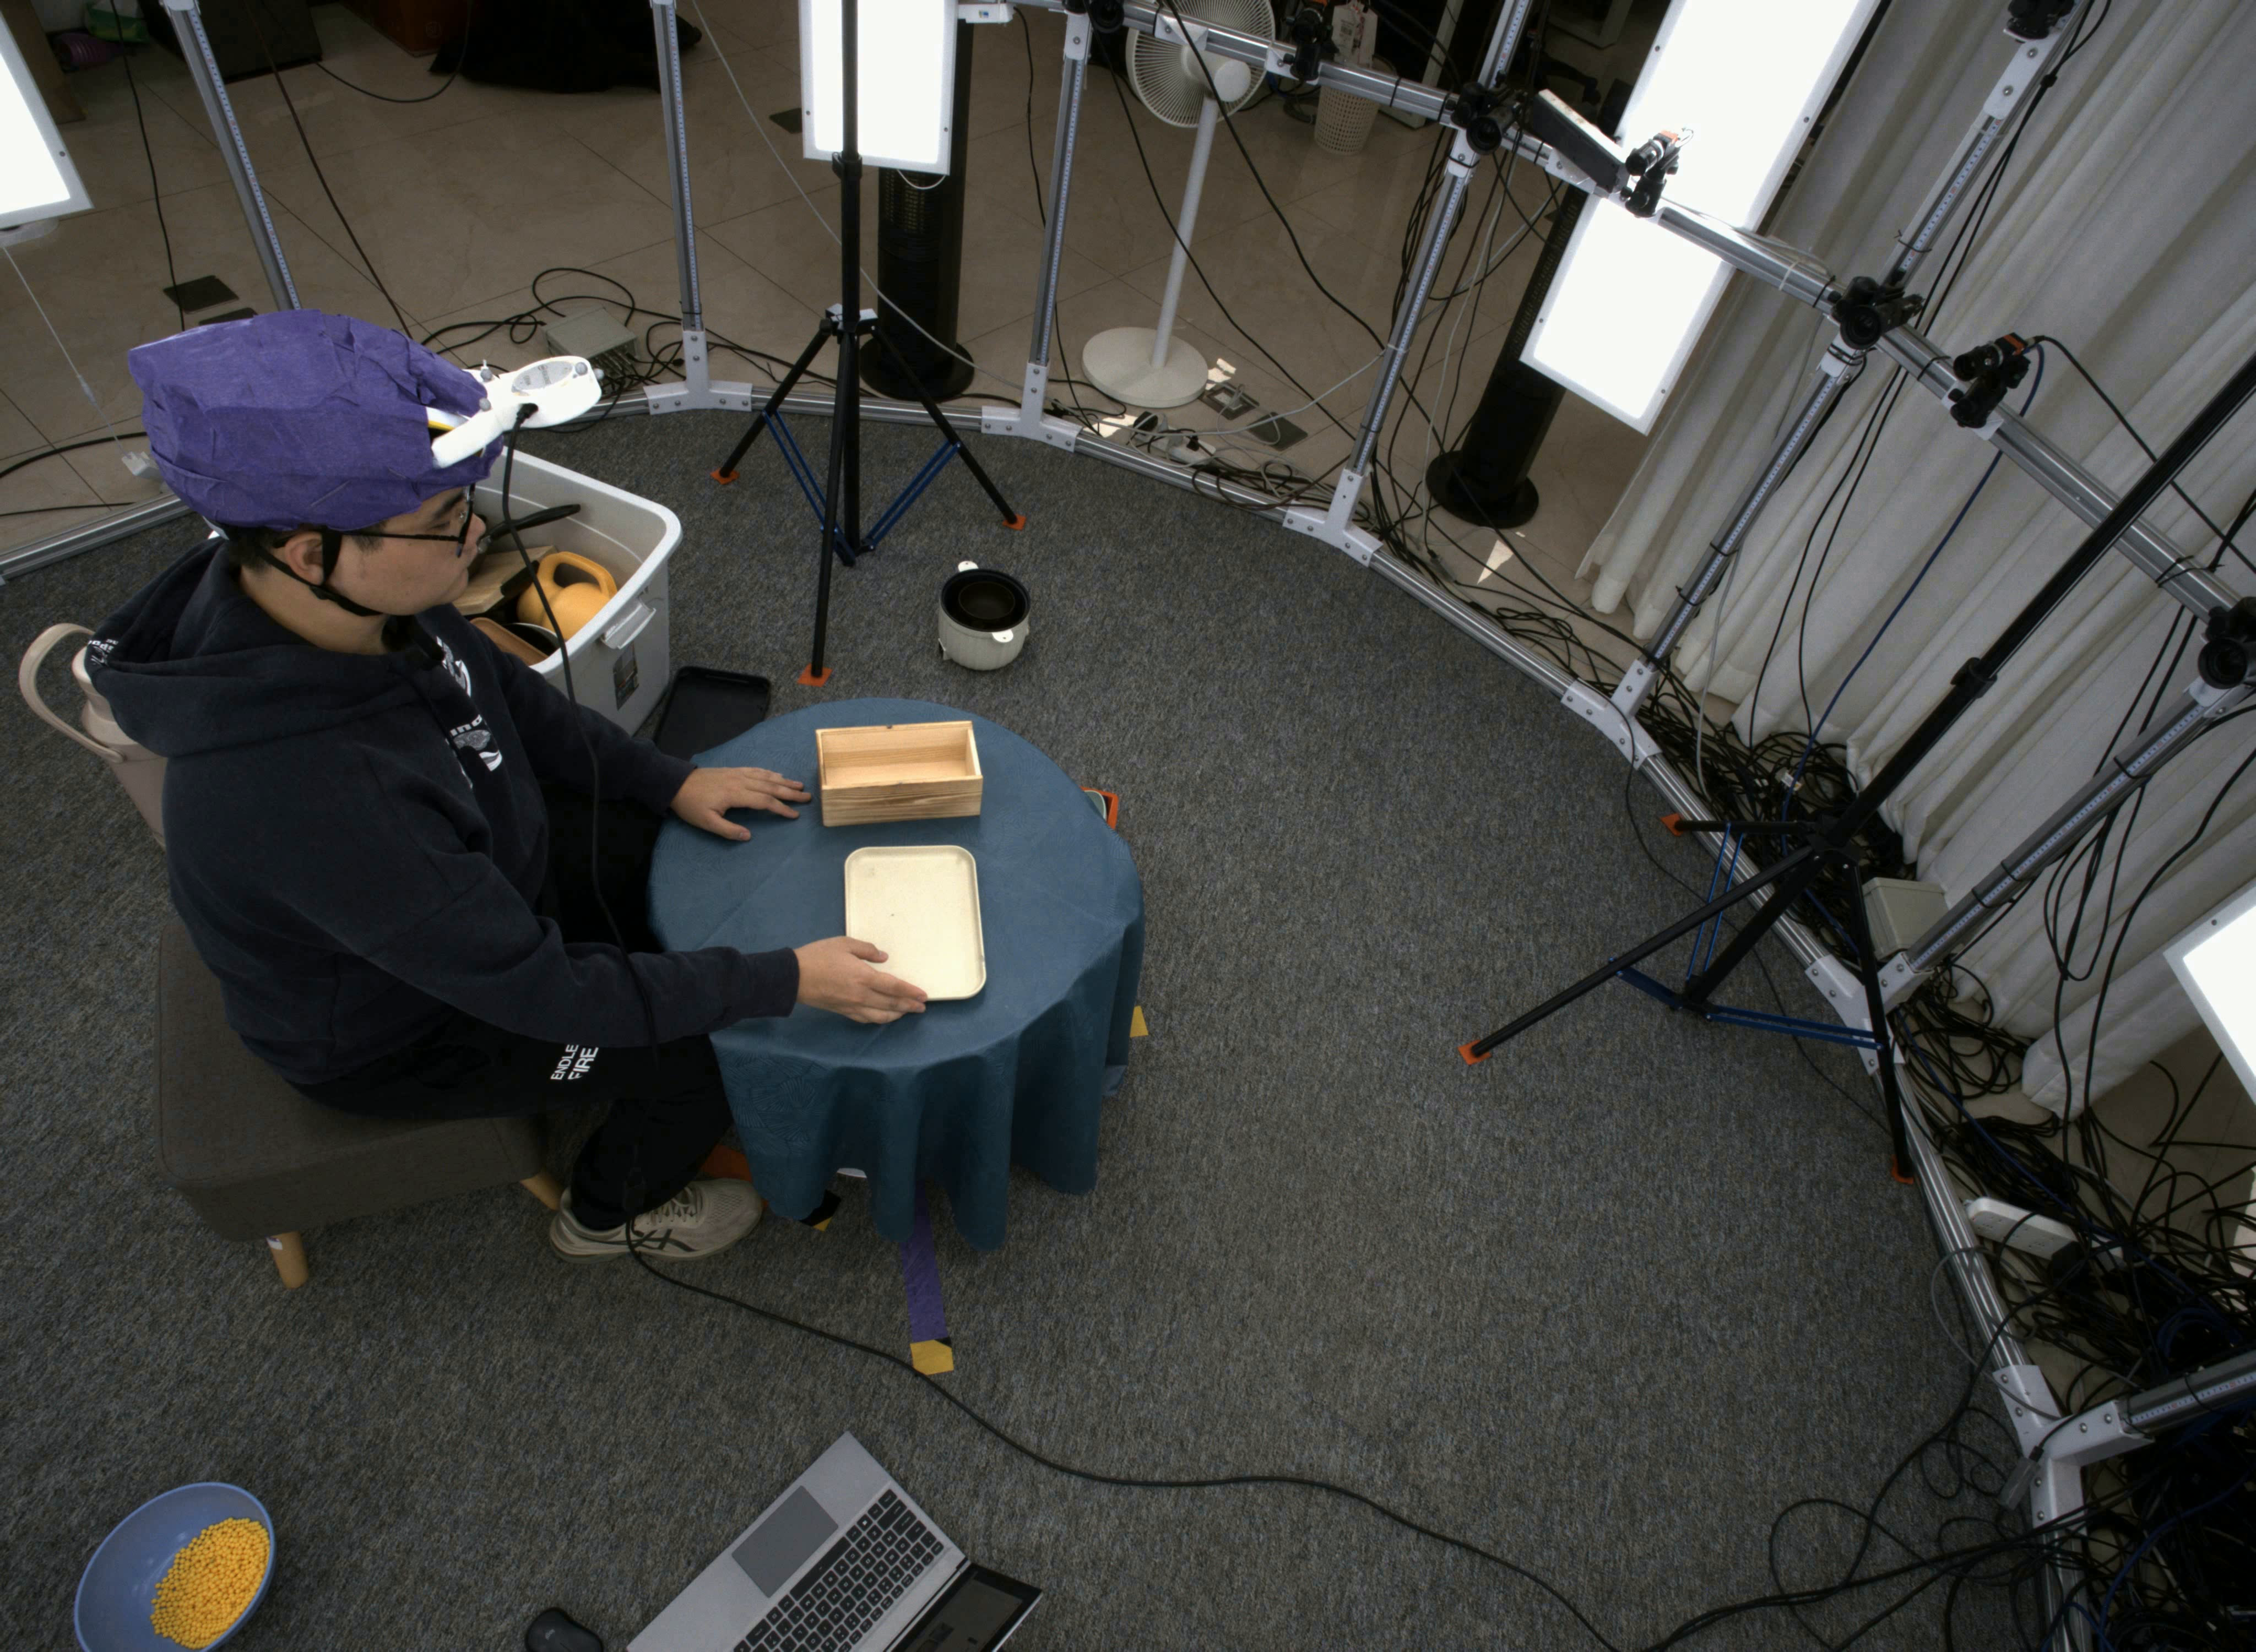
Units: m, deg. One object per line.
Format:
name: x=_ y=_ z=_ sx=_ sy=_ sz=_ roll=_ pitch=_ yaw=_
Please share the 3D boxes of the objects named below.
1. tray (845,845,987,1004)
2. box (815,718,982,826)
tray: x=-0.271 y=0.121 z=1.651 sx=0.171 sy=0.018 sz=0.234 roll=-1 pitch=52 yaw=-14
box: x=-0.310 y=-0.074 z=1.753 sx=0.212 sy=0.082 sz=0.105 roll=-5 pitch=54 yaw=-17
